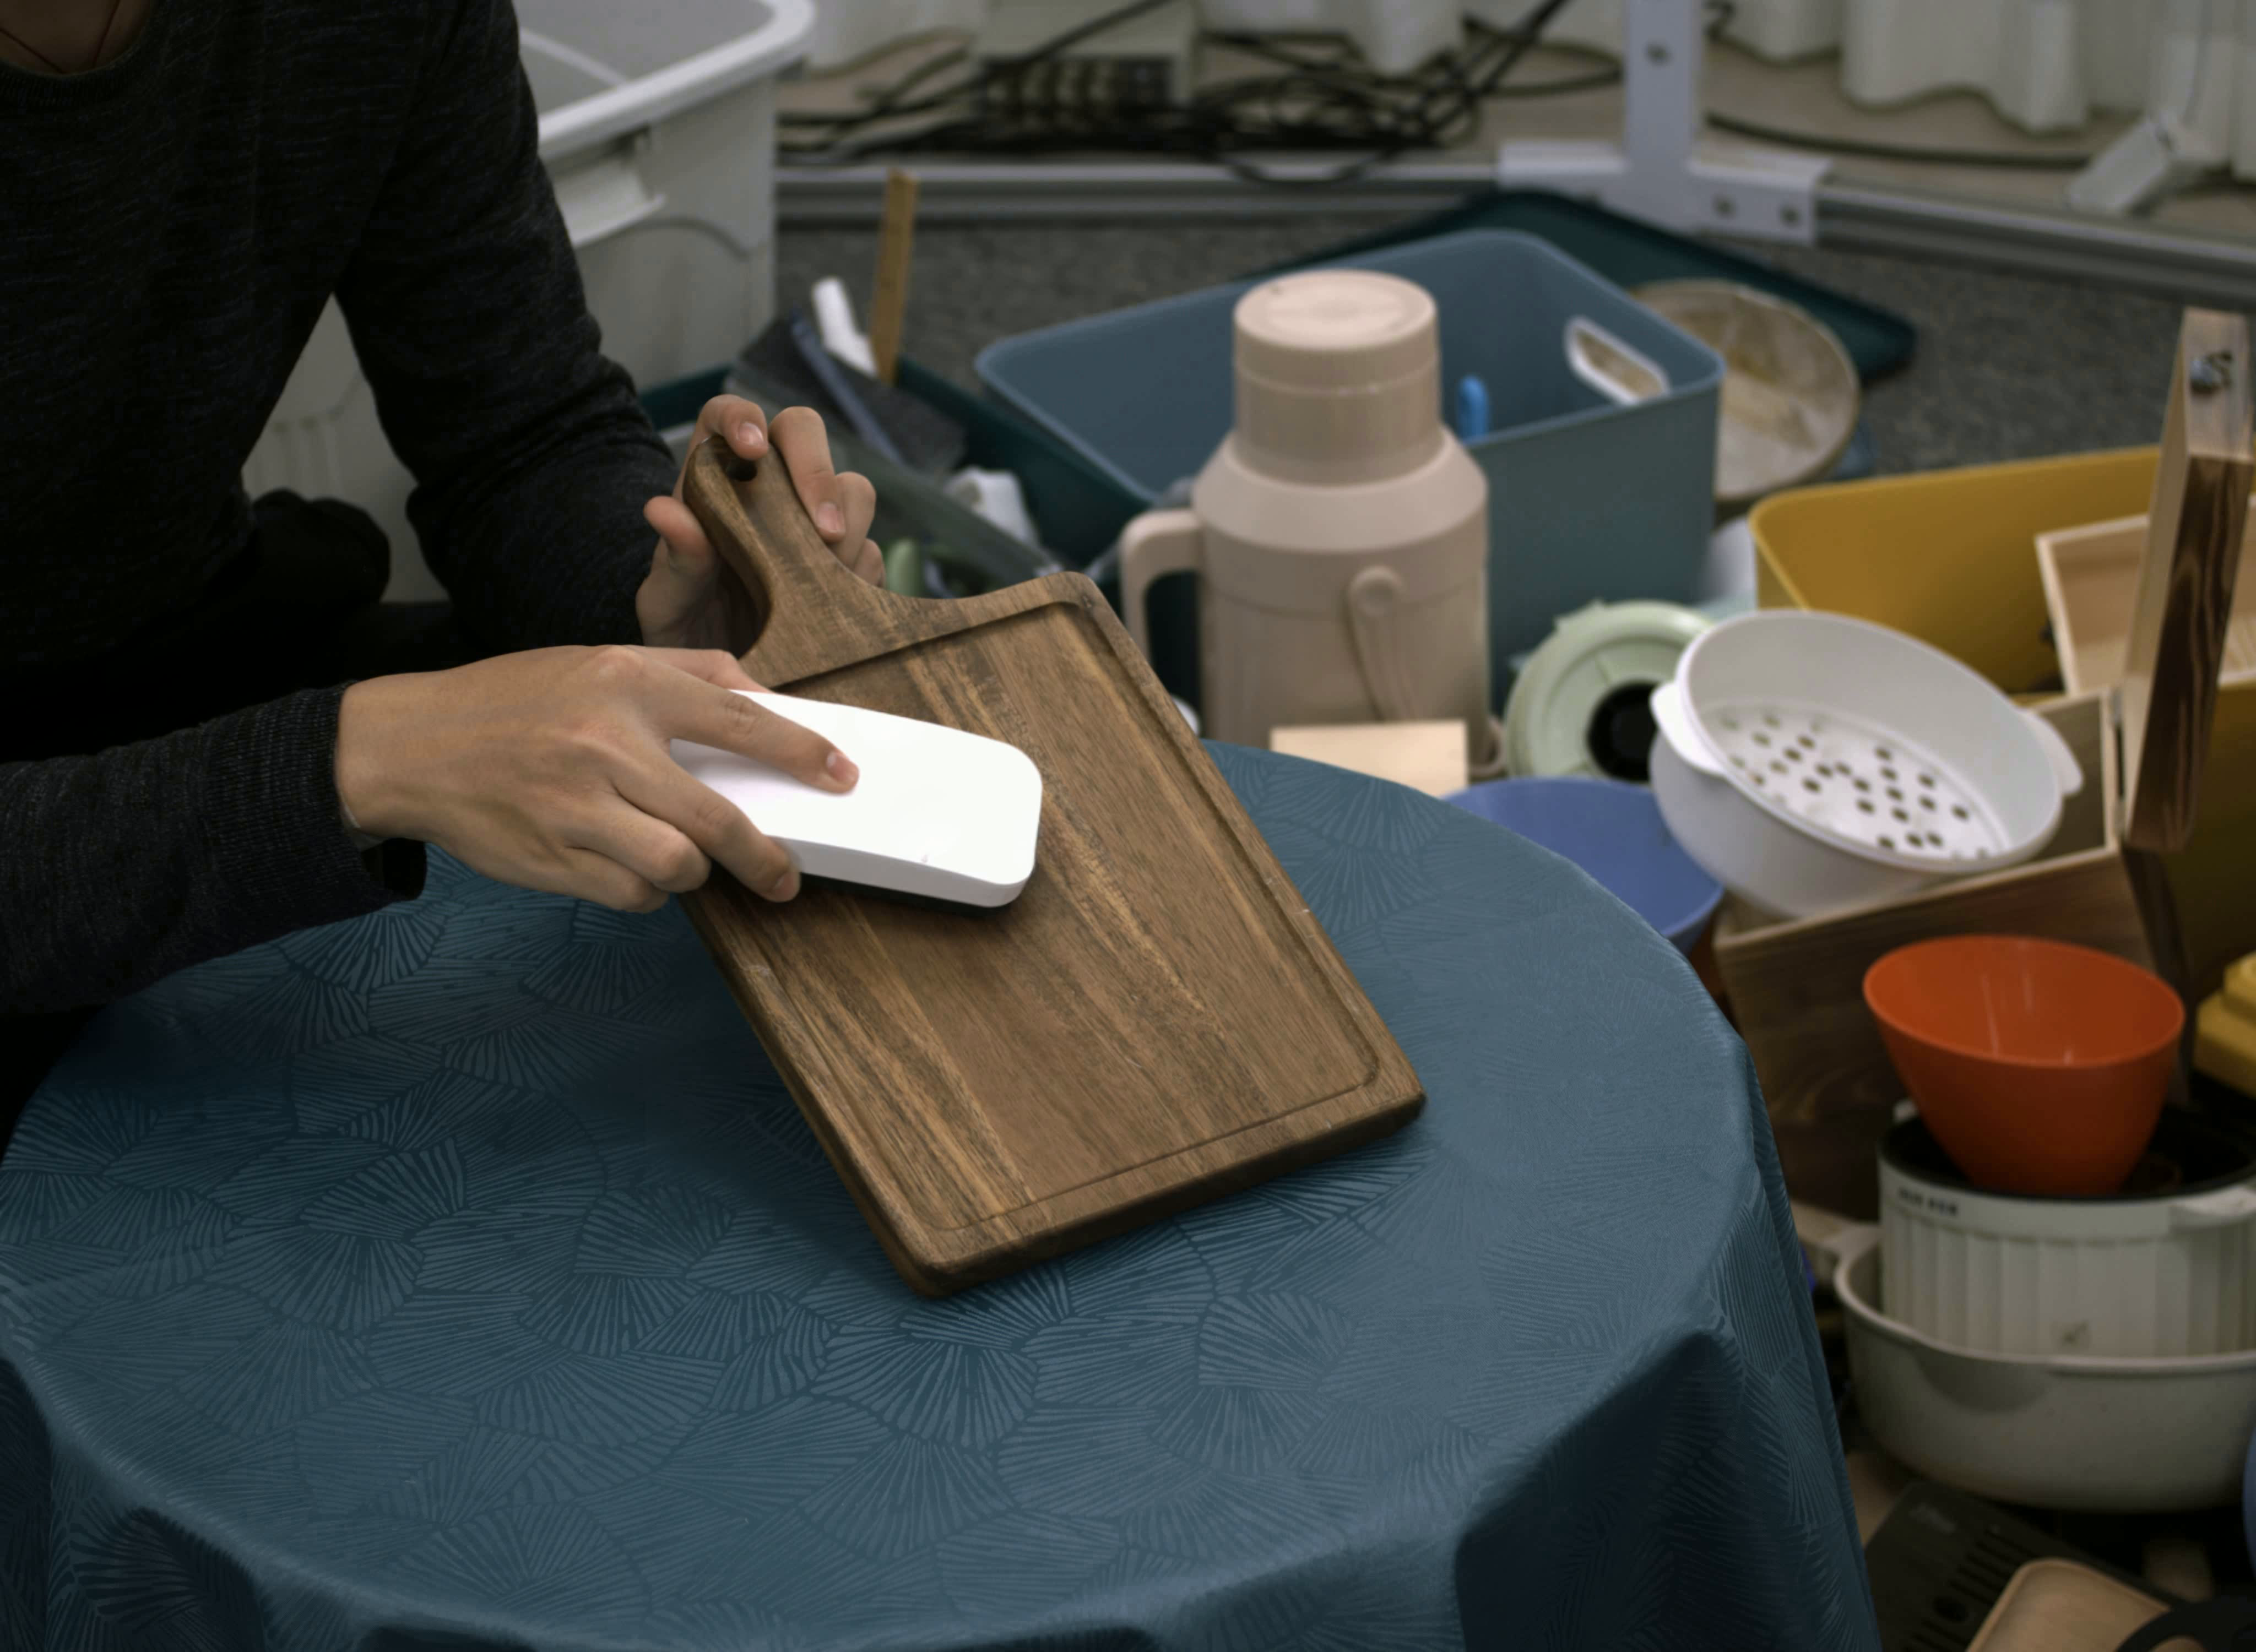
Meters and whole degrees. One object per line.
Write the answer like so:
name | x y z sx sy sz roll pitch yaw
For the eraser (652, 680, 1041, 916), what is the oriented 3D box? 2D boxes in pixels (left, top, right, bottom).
eraser | -0.095 -0.011 1.894 0.131 0.034 0.065 12 50 -9

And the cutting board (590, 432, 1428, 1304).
cutting board | -0.065 -0.005 1.927 0.202 0.023 0.356 -18 57 -26
